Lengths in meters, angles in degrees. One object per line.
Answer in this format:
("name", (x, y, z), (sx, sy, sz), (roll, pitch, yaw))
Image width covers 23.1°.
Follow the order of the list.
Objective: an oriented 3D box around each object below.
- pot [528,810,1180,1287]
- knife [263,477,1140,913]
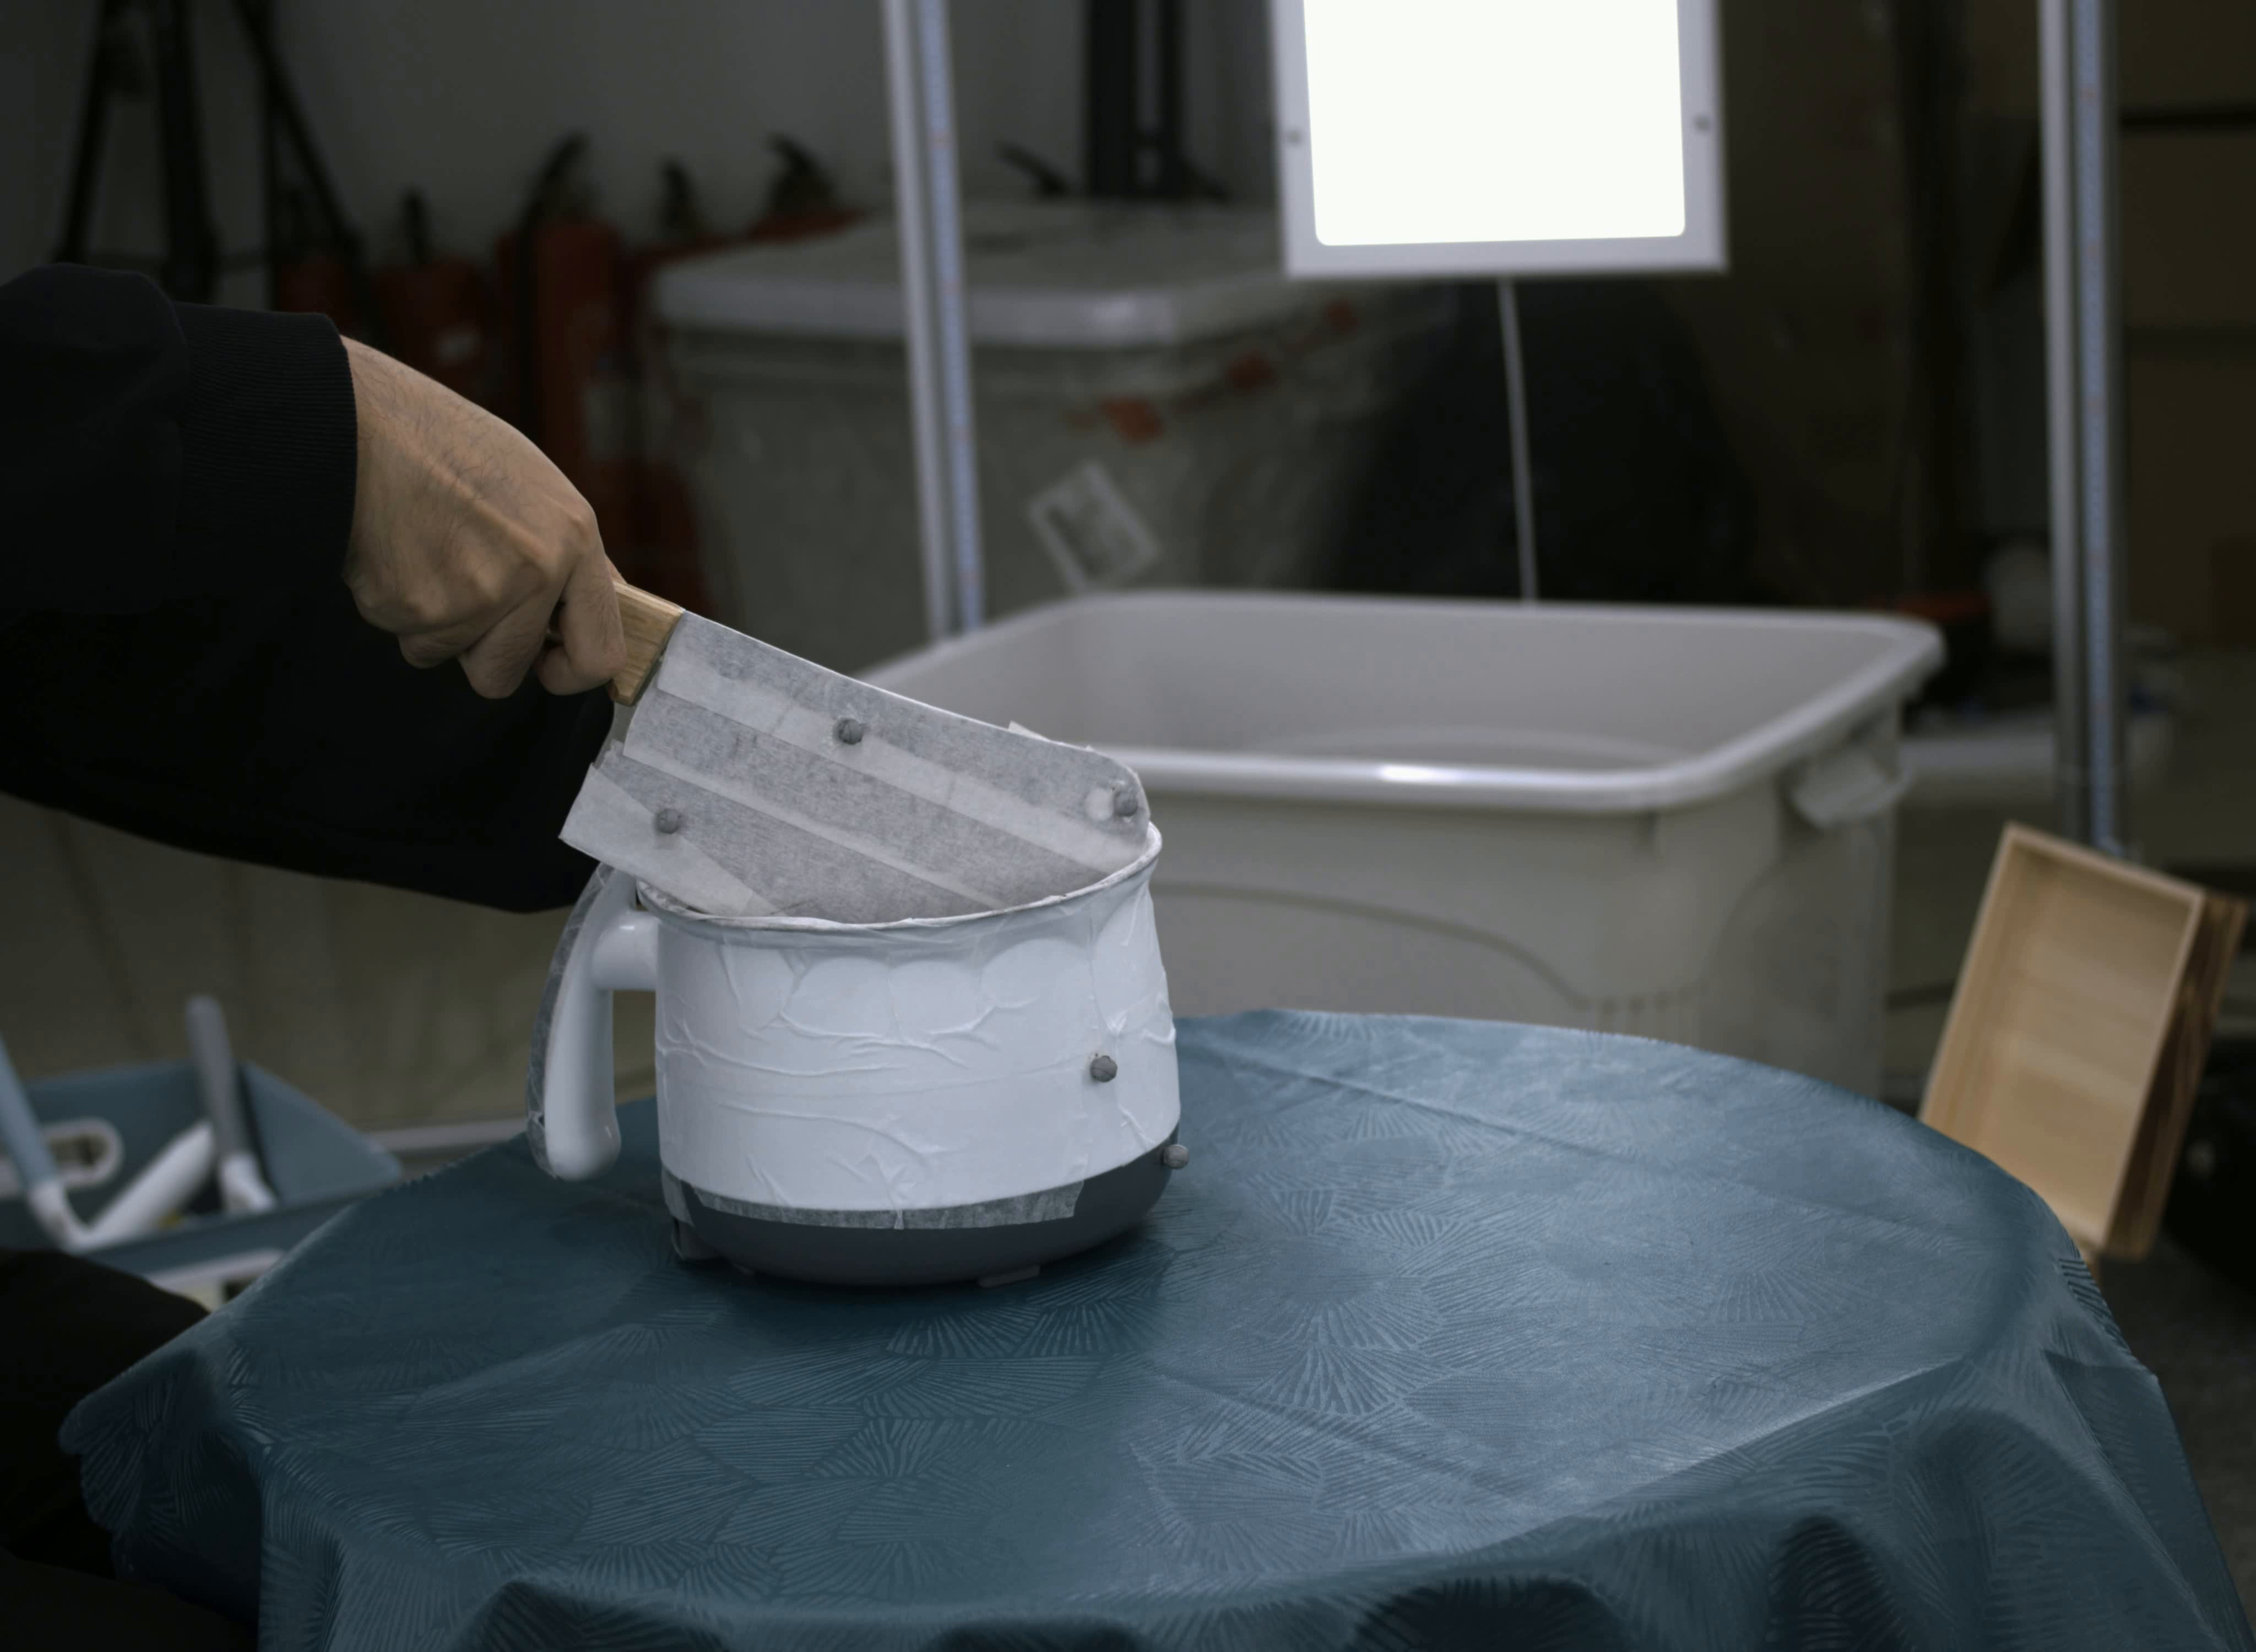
("pot", (-0.098, 0.071, 1.870), (0.237, 0.137, 0.175), (1, 14, 21))
("knife", (-0.137, -0.032, 1.795), (0.312, 0.114, 0.022), (27, 2, -12))
